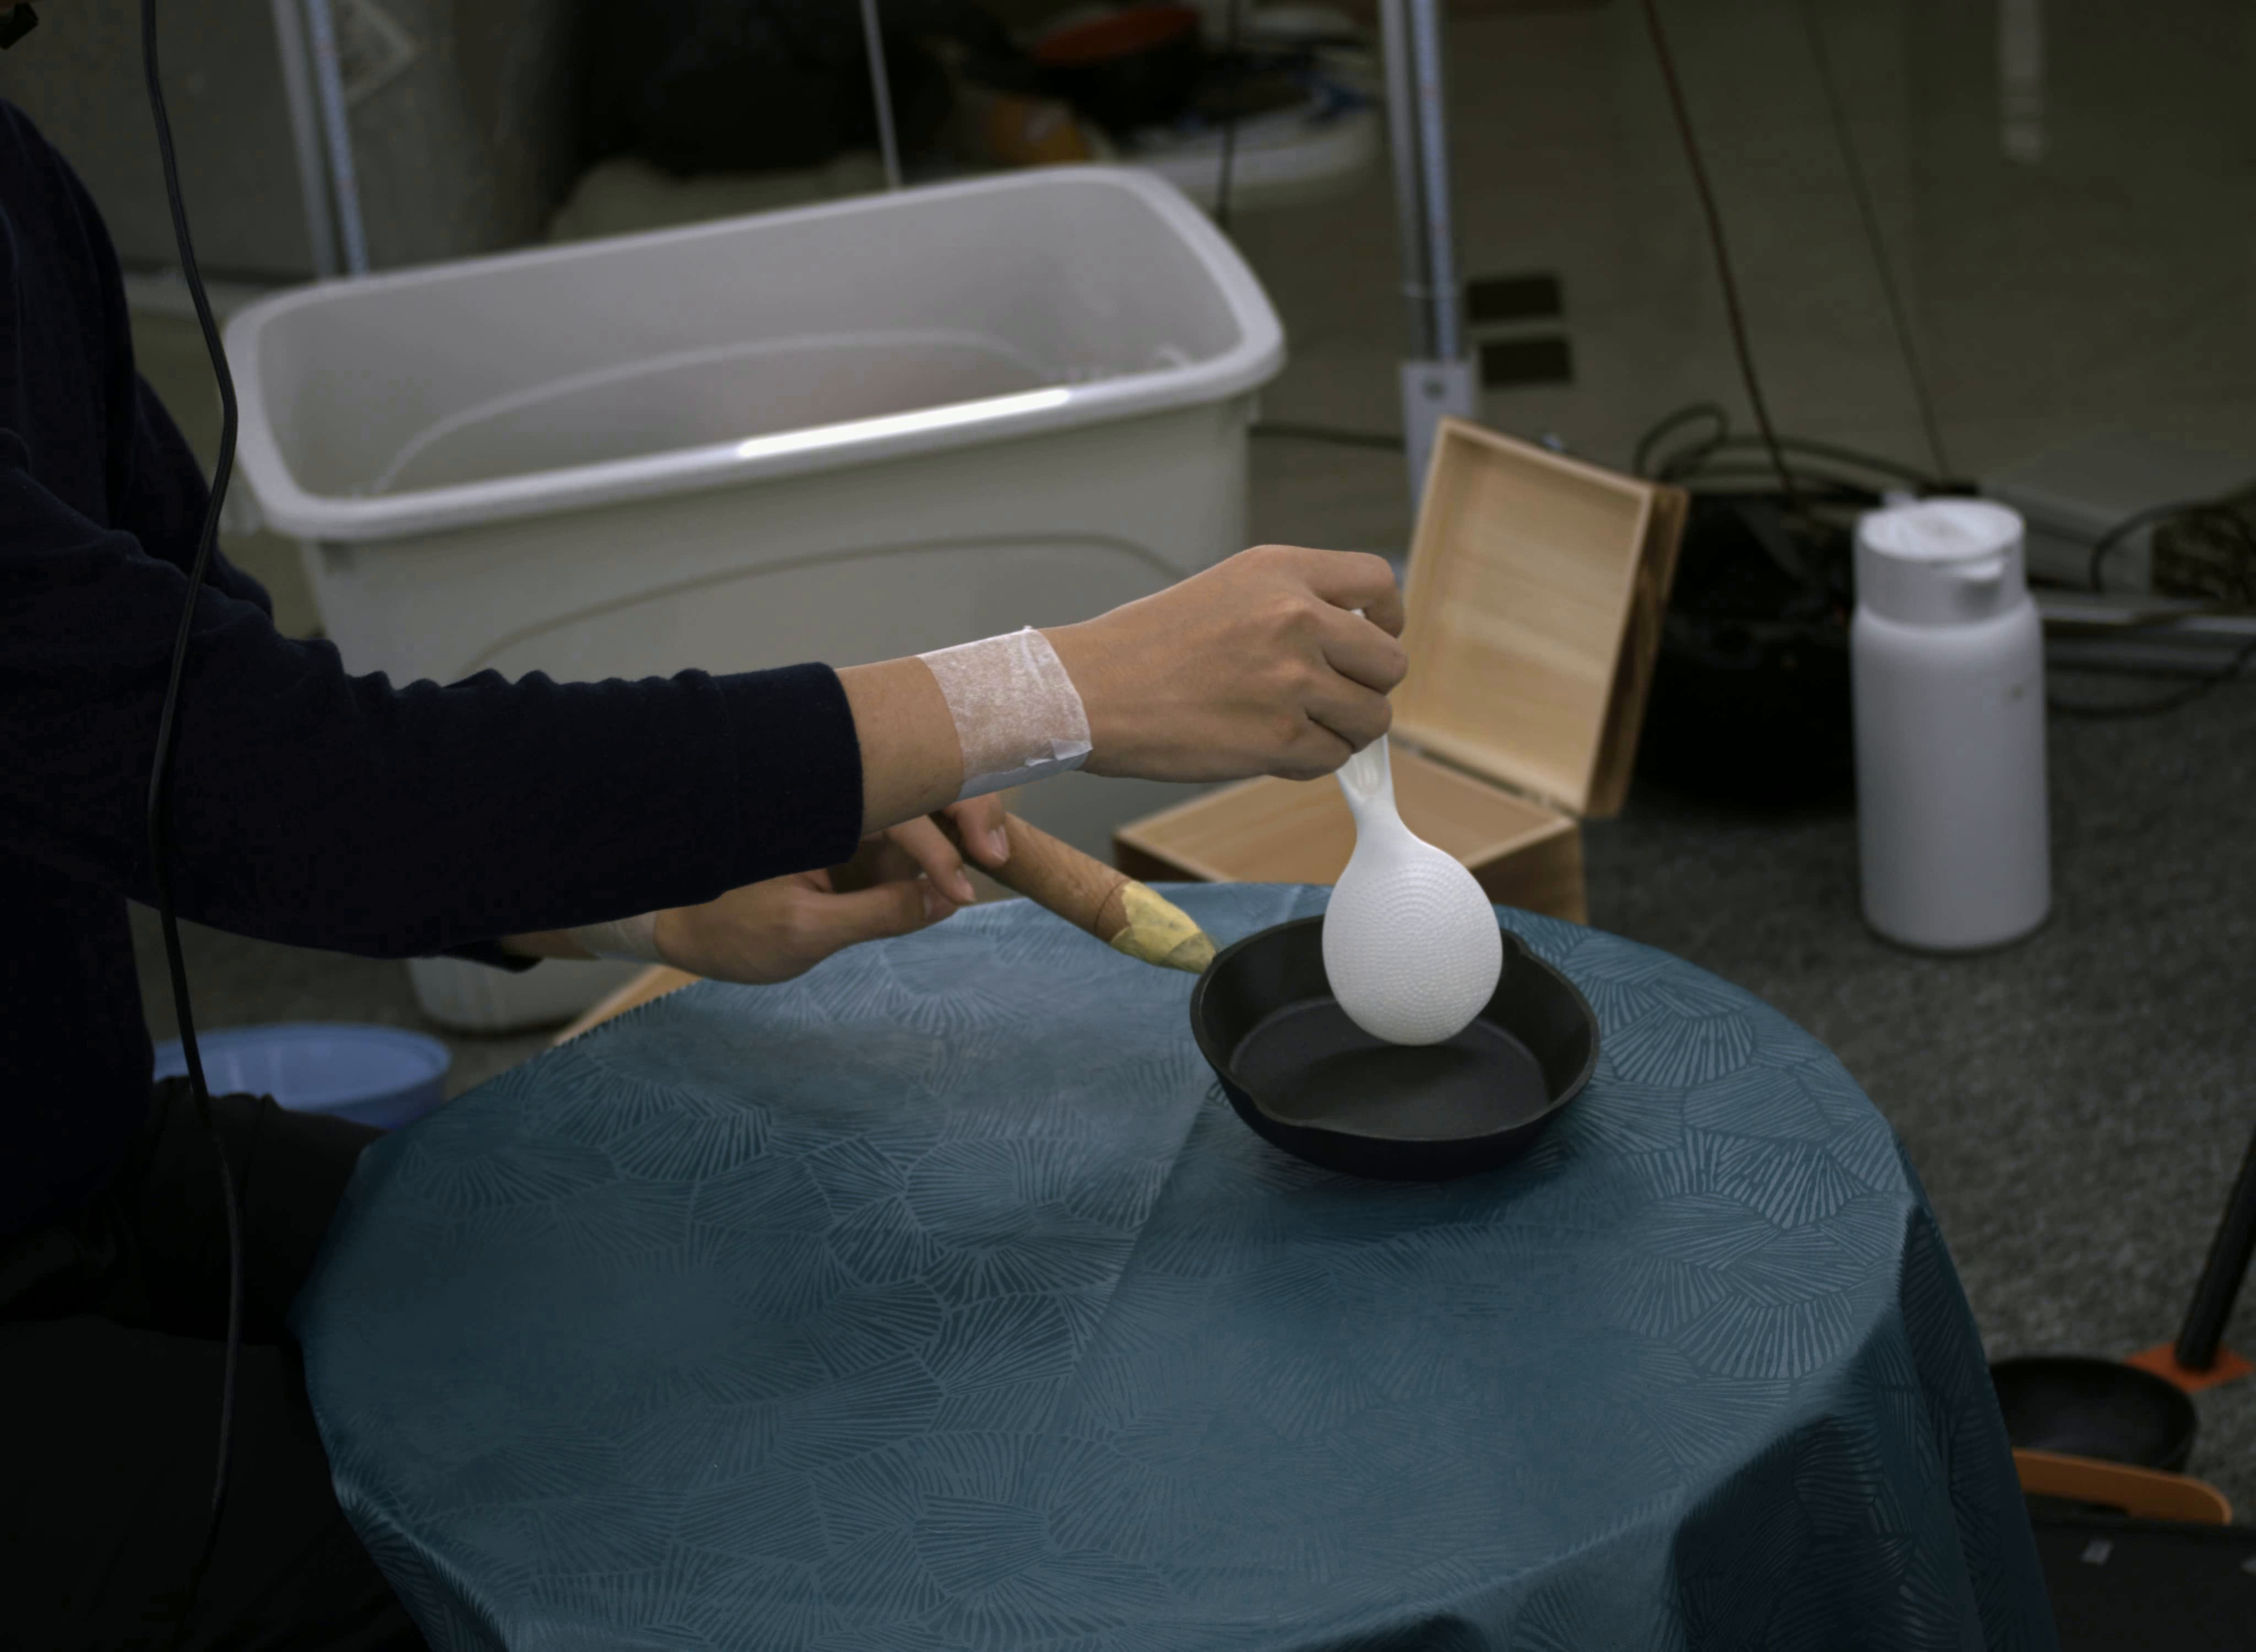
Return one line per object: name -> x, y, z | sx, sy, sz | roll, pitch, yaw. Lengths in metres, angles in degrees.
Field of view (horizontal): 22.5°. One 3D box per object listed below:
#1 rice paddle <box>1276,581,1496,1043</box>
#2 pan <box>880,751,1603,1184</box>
rice paddle -> 0.092, -0.001, 2.140 | 0.068, 0.209, 0.029 | -16, 35, 1
pan -> 0.034, 0.050, 2.200 | 0.321, 0.050, 0.167 | 26, 39, 28
